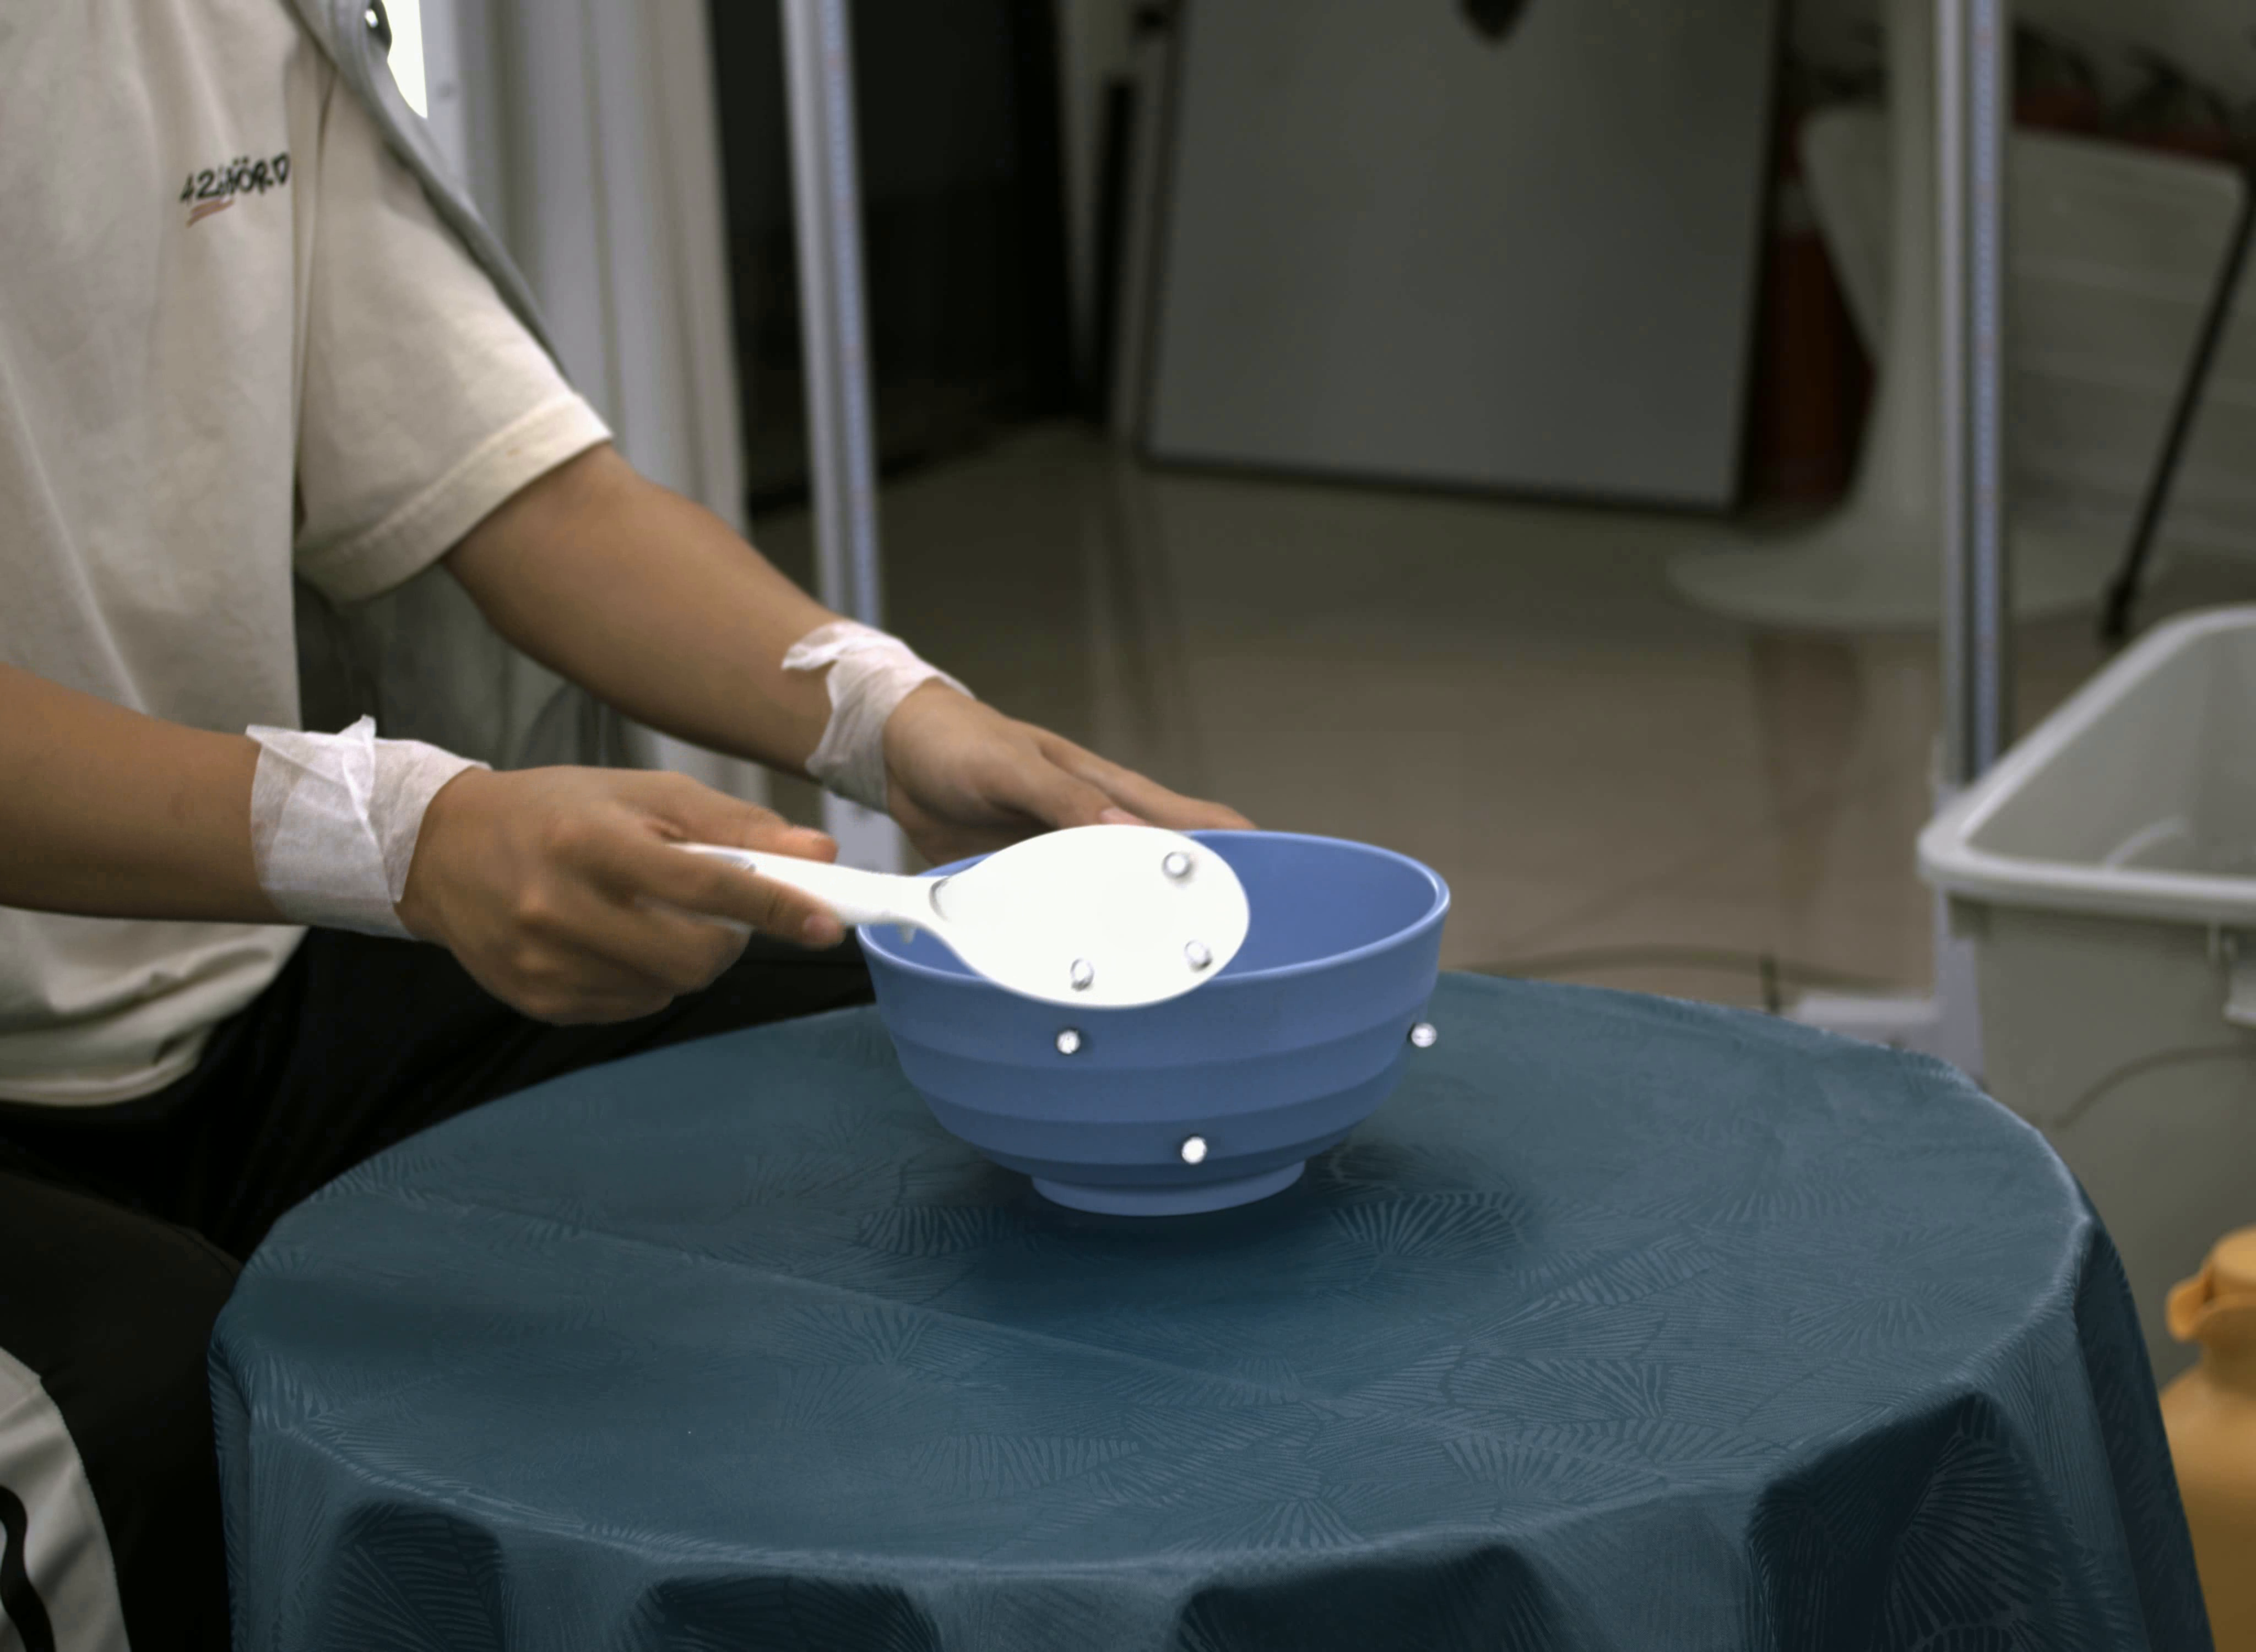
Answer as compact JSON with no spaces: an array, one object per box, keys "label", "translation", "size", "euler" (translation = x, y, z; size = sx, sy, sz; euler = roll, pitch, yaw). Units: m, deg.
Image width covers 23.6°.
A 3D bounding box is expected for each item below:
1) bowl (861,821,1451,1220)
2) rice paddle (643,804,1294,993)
[{"label":"bowl","translation":[0.011,0.070,1.777],"size":[0.194,0.096,0.197],"euler":[-3,15,0]},{"label":"rice paddle","translation":[-0.049,0.023,1.671],"size":[0.204,0.029,0.069],"euler":[-8,38,10]}]
